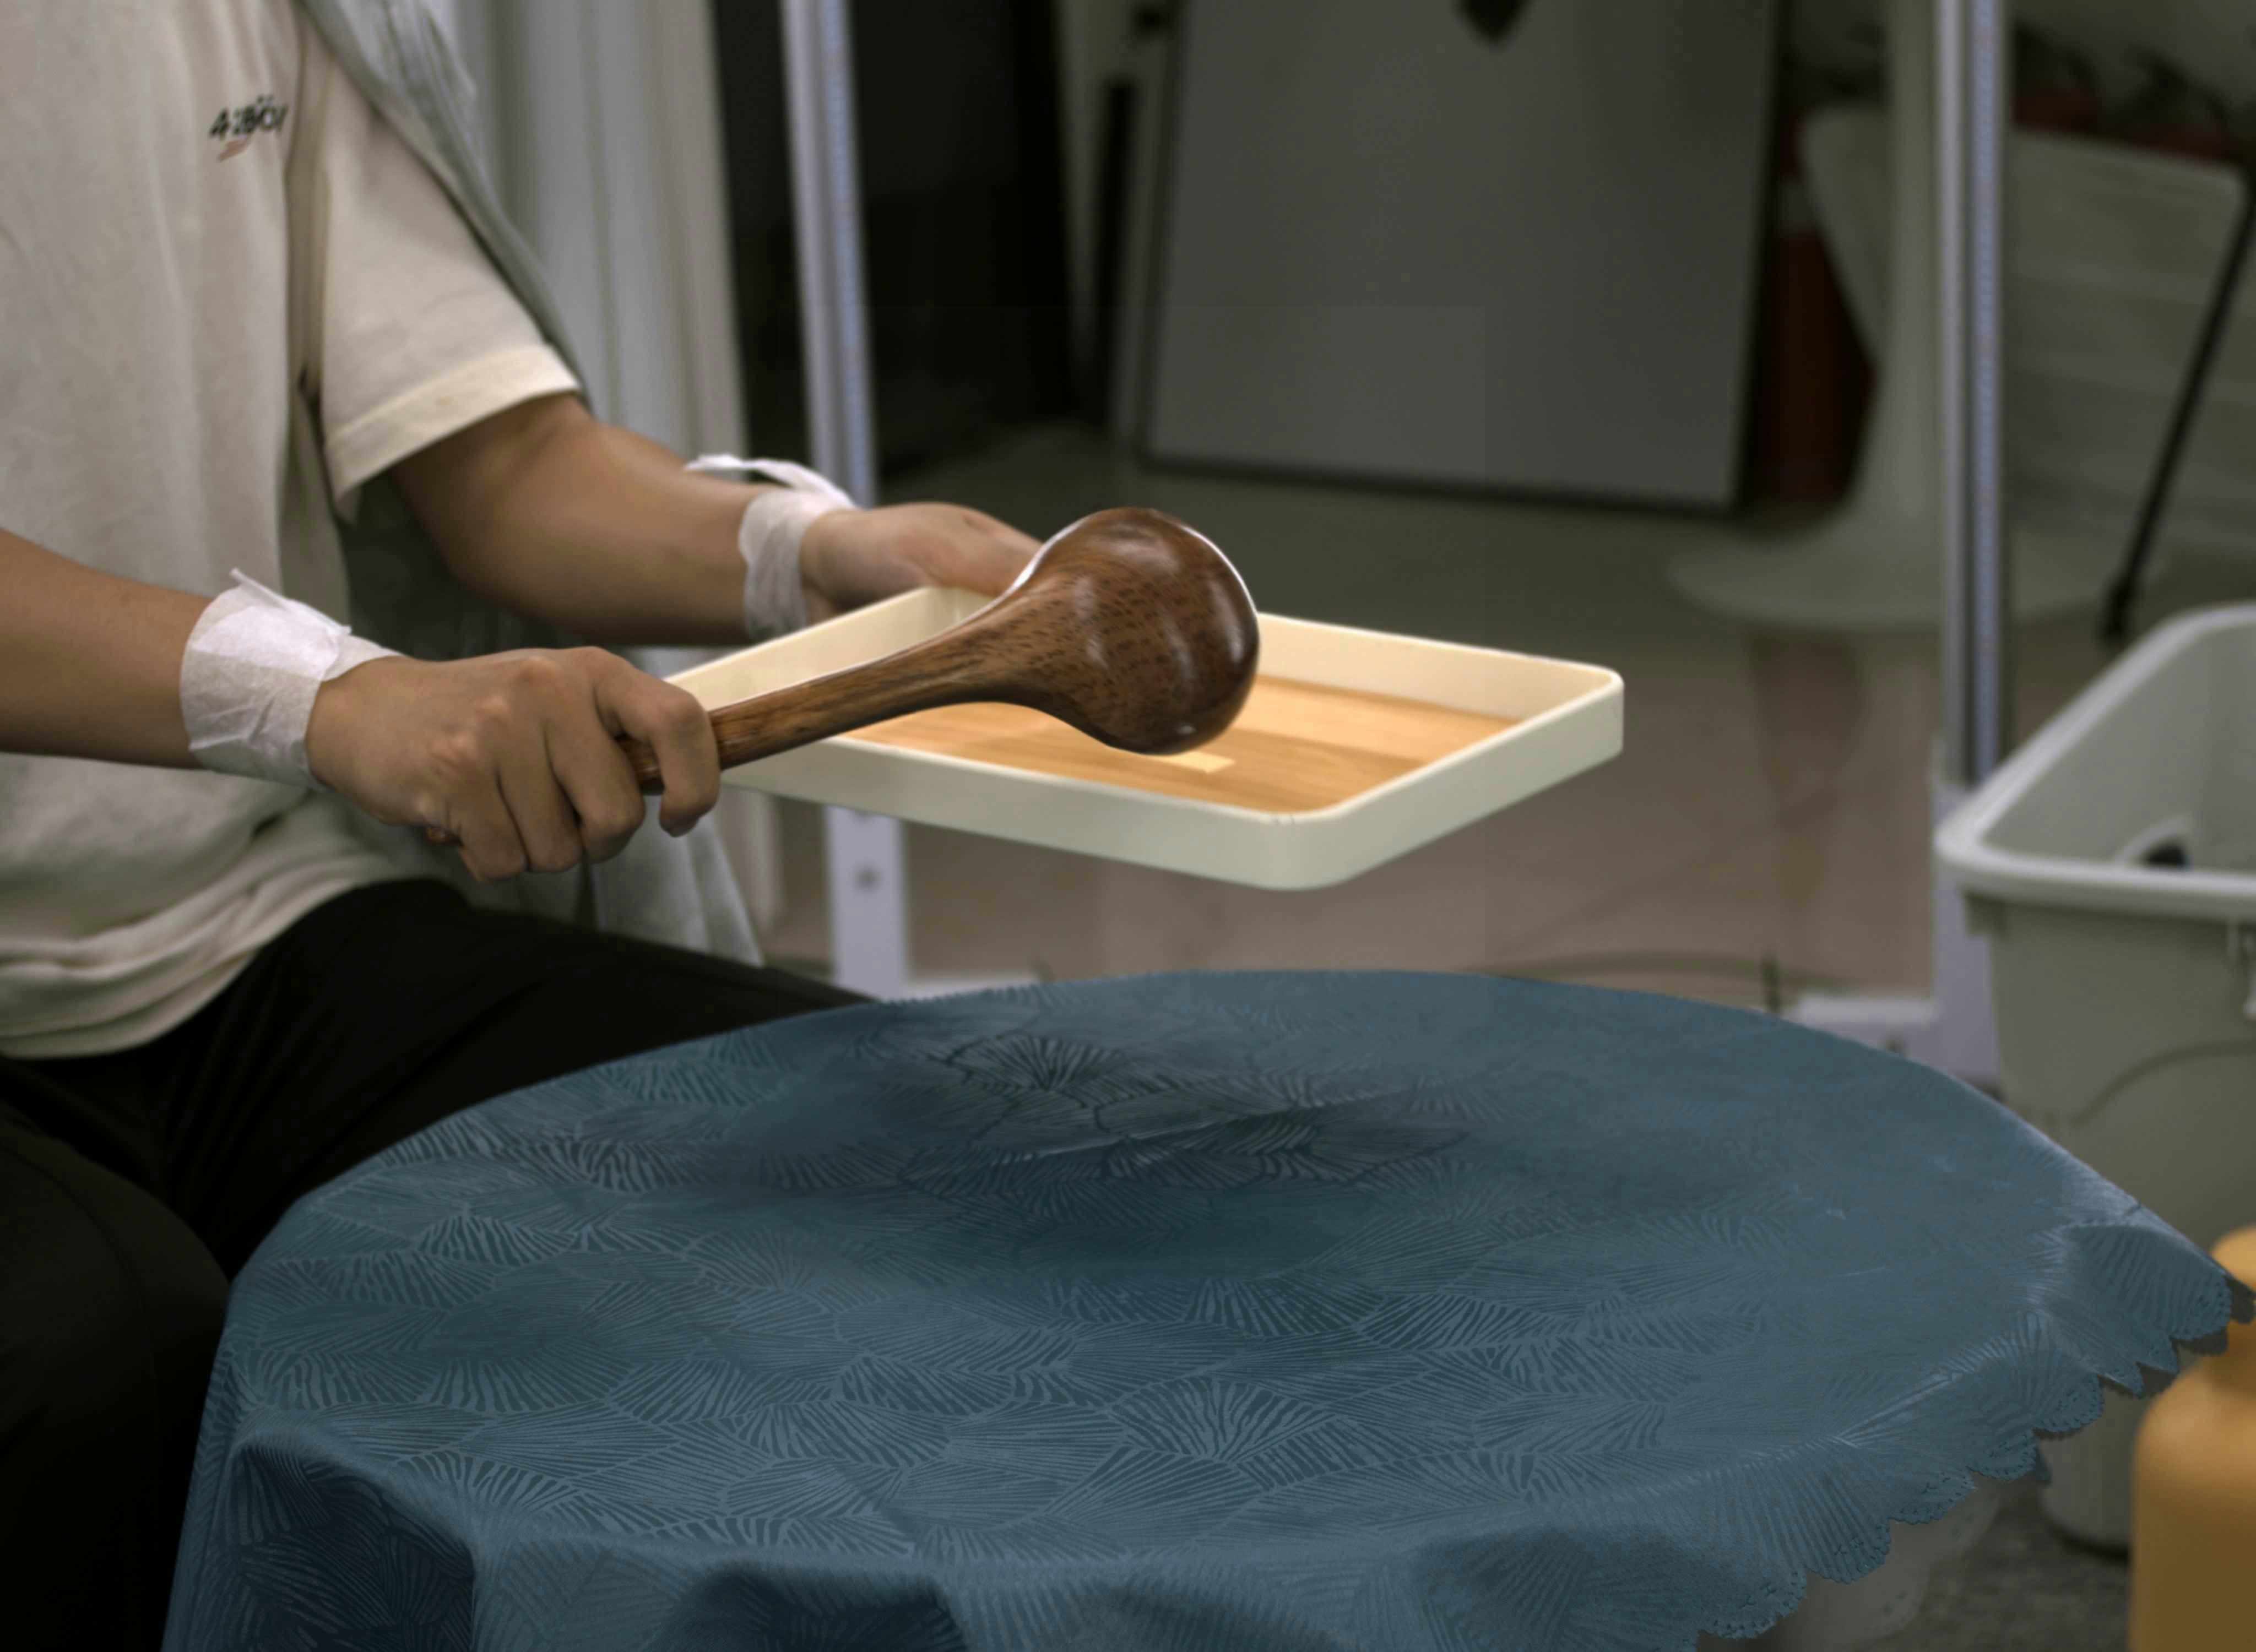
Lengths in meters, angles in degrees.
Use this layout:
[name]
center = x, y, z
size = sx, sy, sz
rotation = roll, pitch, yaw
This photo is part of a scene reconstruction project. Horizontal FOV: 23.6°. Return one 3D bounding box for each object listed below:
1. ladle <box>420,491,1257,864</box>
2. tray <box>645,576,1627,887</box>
[ladle]
center = -0.091, -0.035, 1.718
size = 0.274, 0.083, 0.075
rotation = -18, -19, 19
[tray]
center = 0.001, -0.035, 1.825
size = 0.302, 0.028, 0.188
rotation = 10, 22, 39
